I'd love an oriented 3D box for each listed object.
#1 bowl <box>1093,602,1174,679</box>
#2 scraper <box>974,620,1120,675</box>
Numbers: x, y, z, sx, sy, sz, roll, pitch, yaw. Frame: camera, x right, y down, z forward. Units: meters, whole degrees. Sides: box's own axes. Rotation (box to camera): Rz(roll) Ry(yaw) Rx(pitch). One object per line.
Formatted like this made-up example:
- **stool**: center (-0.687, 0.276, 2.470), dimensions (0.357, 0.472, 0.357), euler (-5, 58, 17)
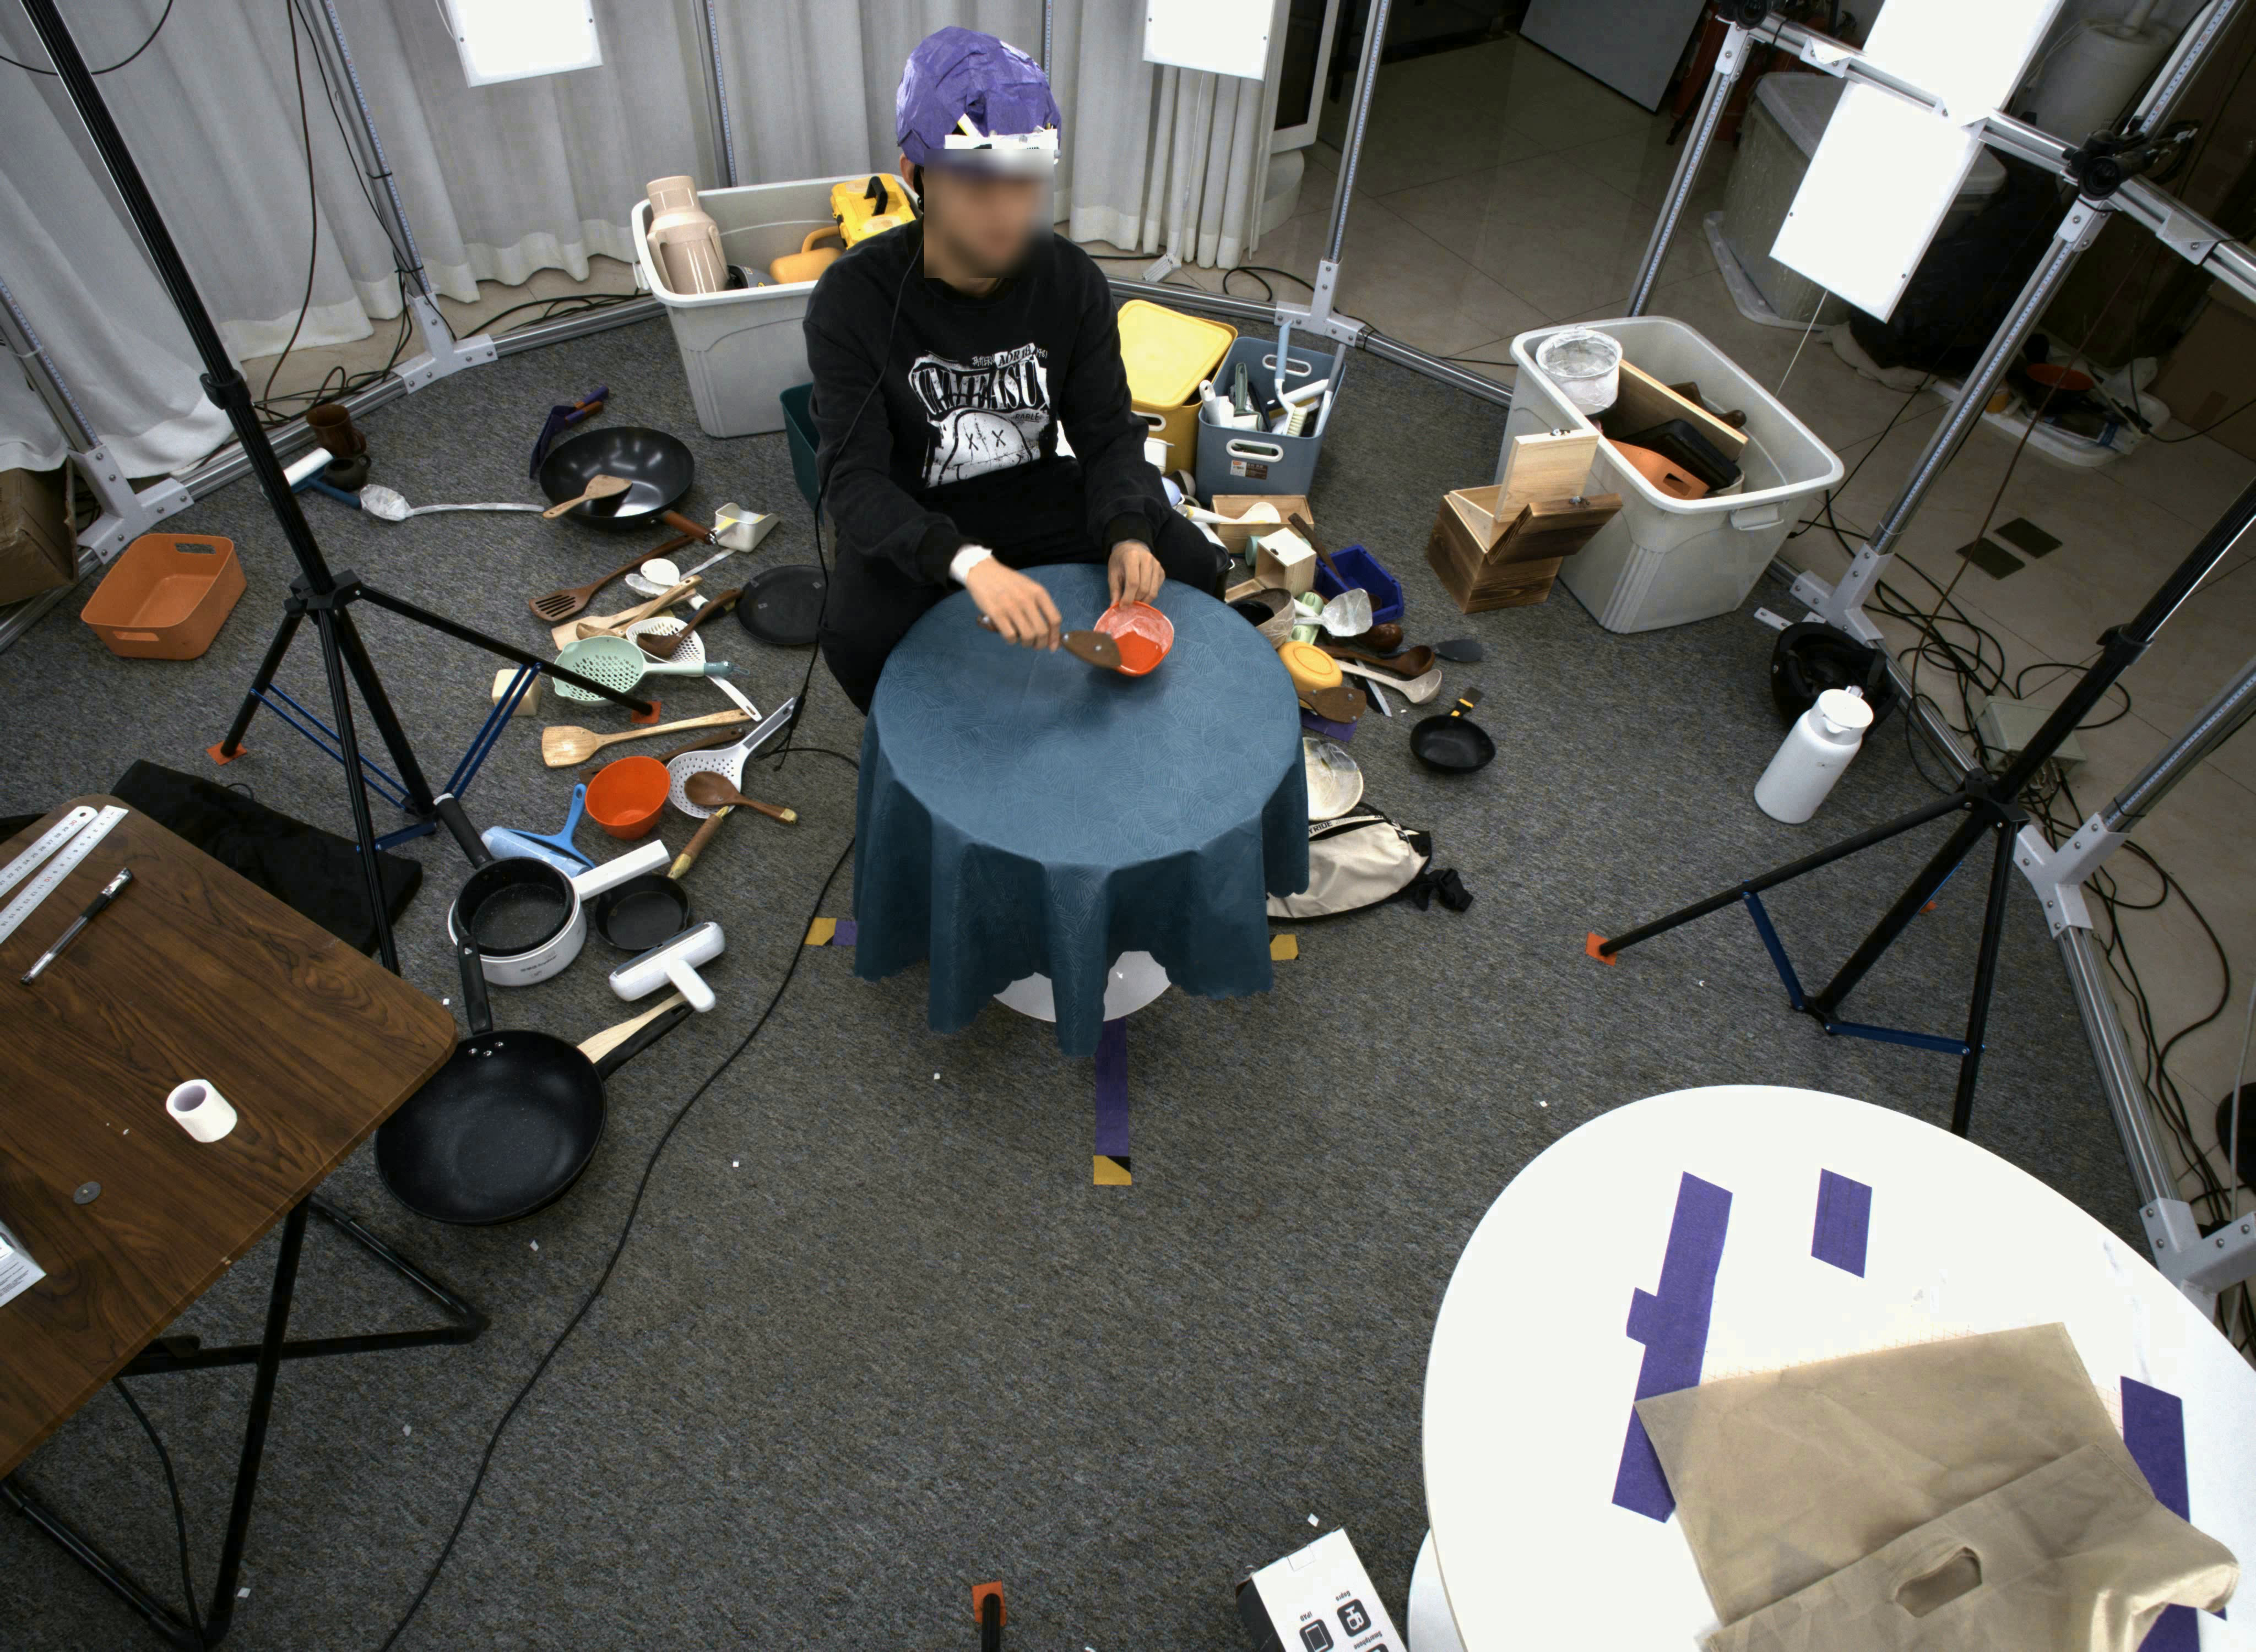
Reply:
- **bowl**: center (0.008, -0.262, 1.868), dimensions (0.119, 0.050, 0.121), euler (0, 70, 1)
- **scraper**: center (-0.110, -0.251, 1.765), dimensions (0.210, 0.010, 0.078), euler (10, 45, -24)
